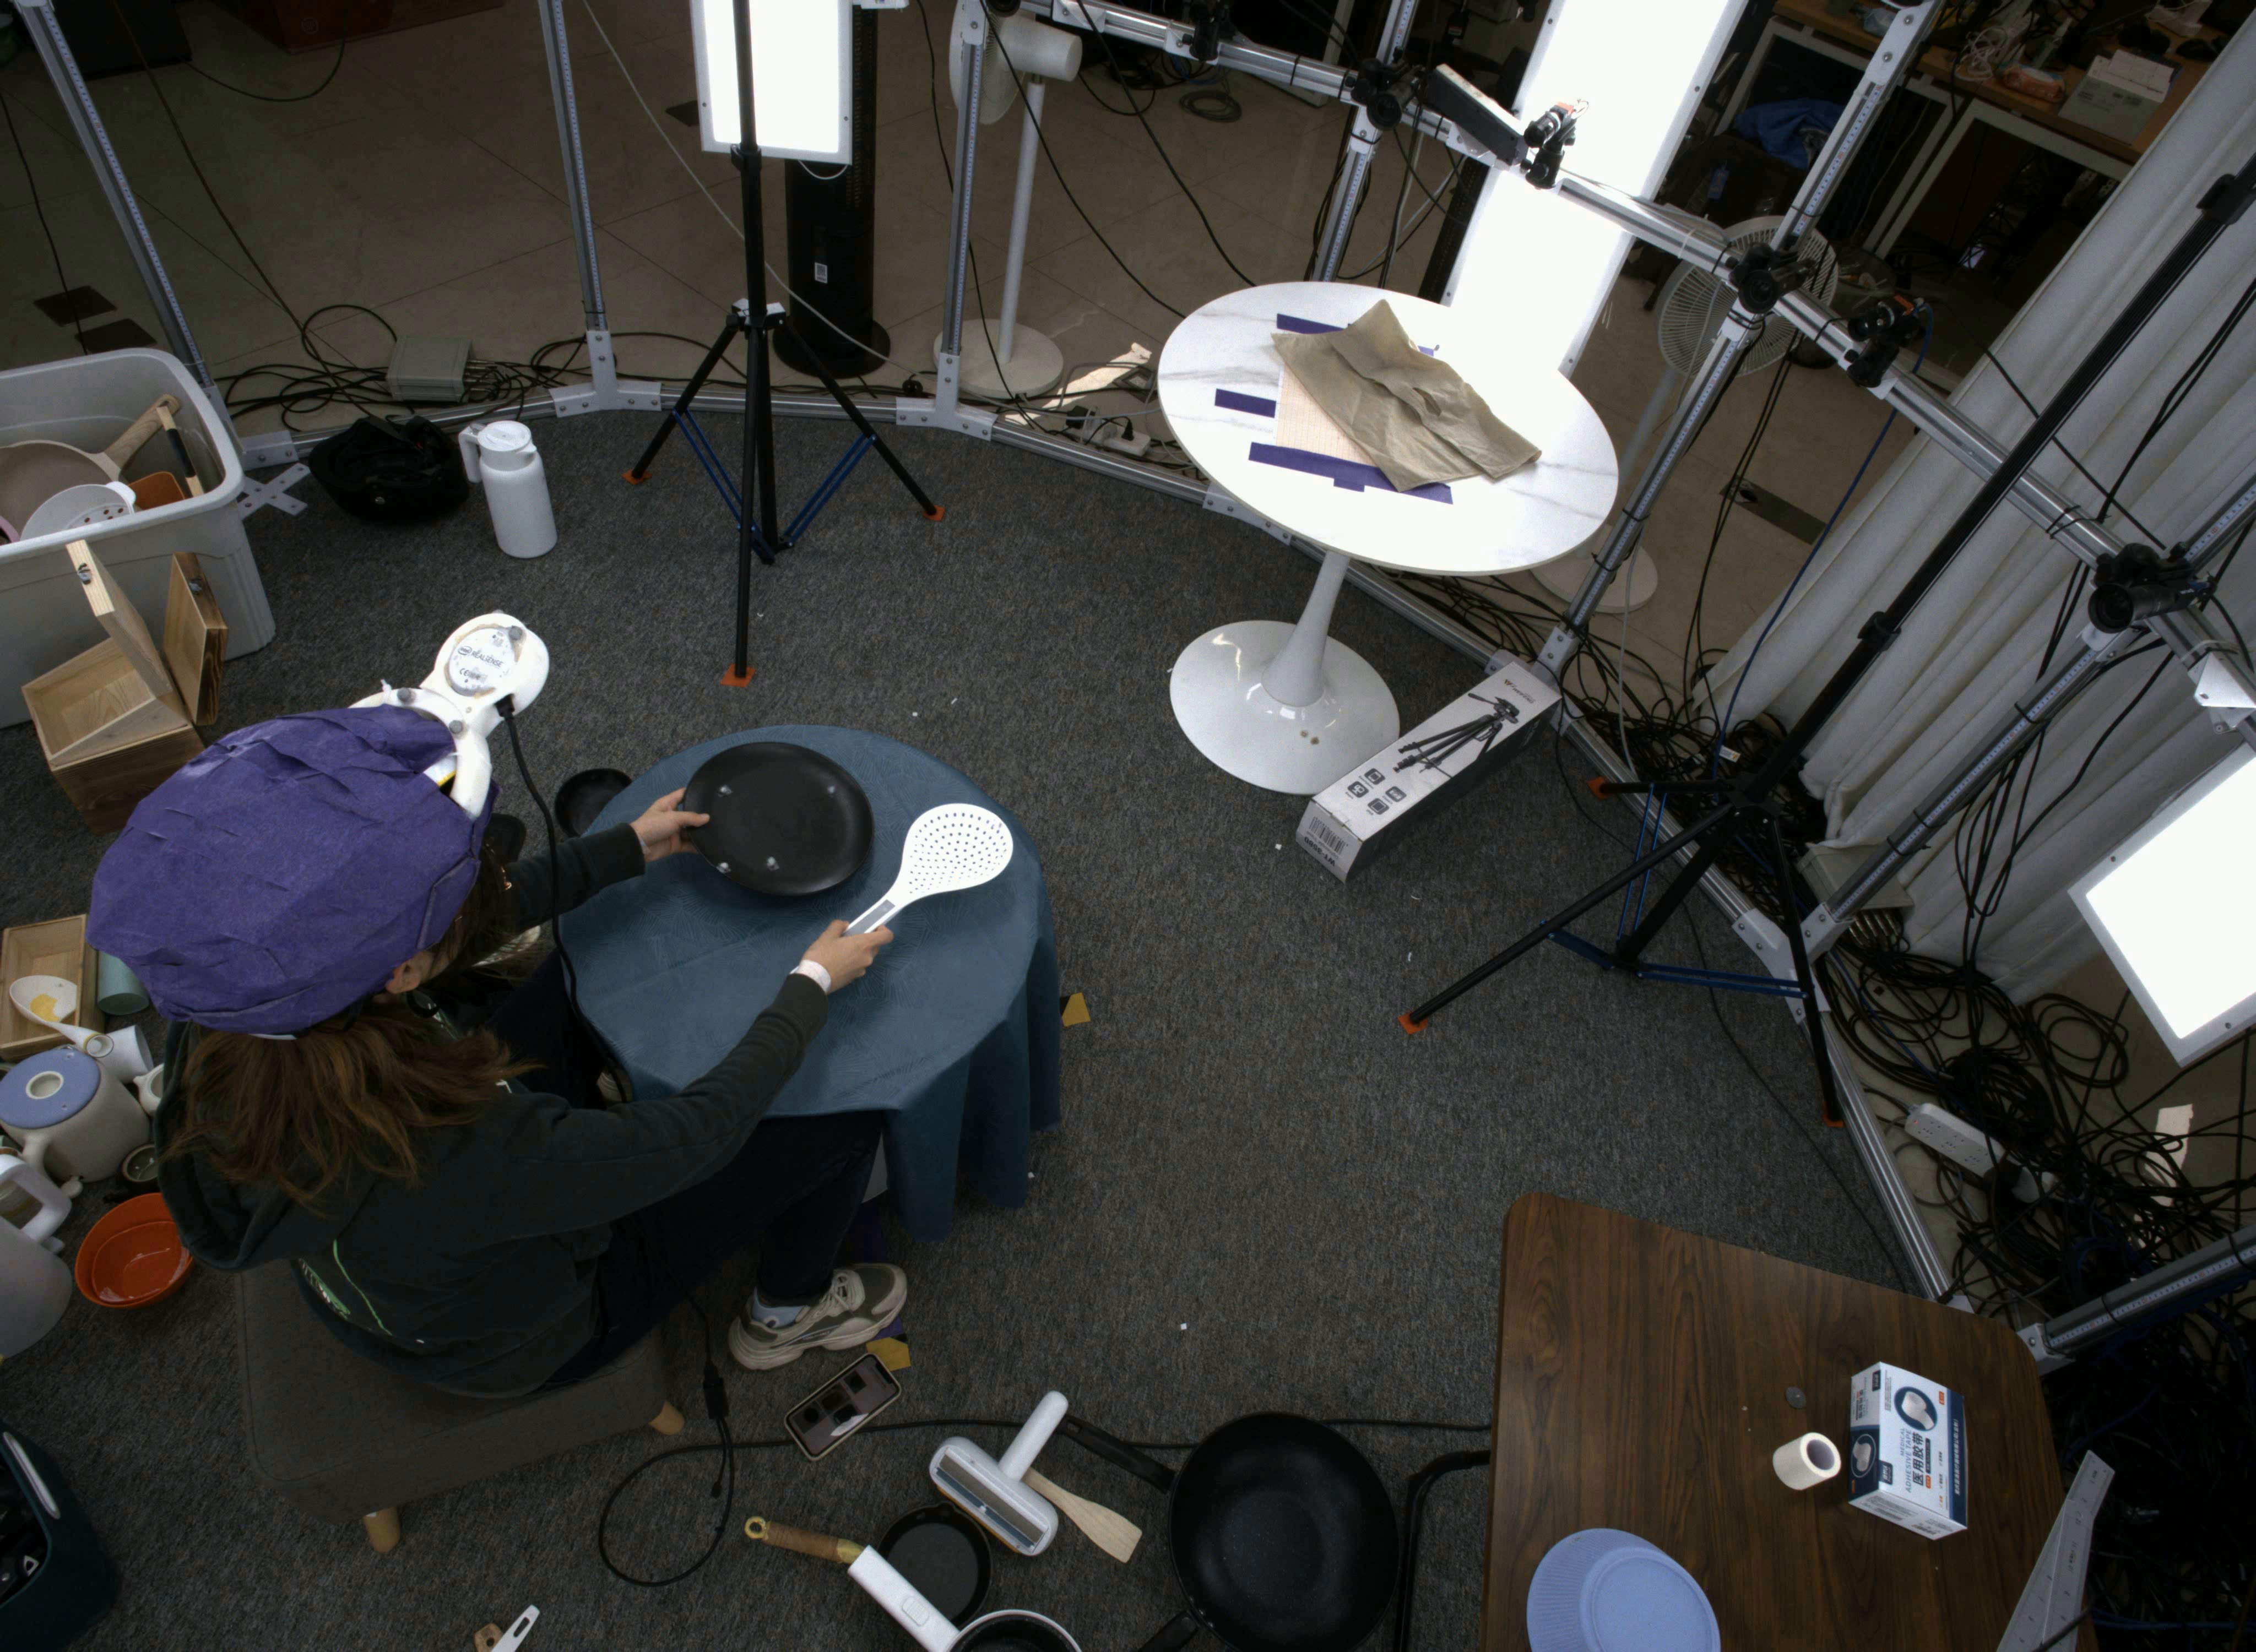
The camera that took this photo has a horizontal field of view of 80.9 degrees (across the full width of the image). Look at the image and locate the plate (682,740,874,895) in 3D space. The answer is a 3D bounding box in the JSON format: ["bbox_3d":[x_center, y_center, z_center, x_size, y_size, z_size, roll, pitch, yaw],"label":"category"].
[{"bbox_3d":[-0.450,-0.010,1.667,0.247,0.023,0.240,16,50,-17],"label":"plate"}]

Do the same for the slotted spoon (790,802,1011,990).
[{"bbox_3d":[-0.285,0.086,1.625,0.133,0.047,0.350,34,49,18],"label":"slotted spoon"}]
